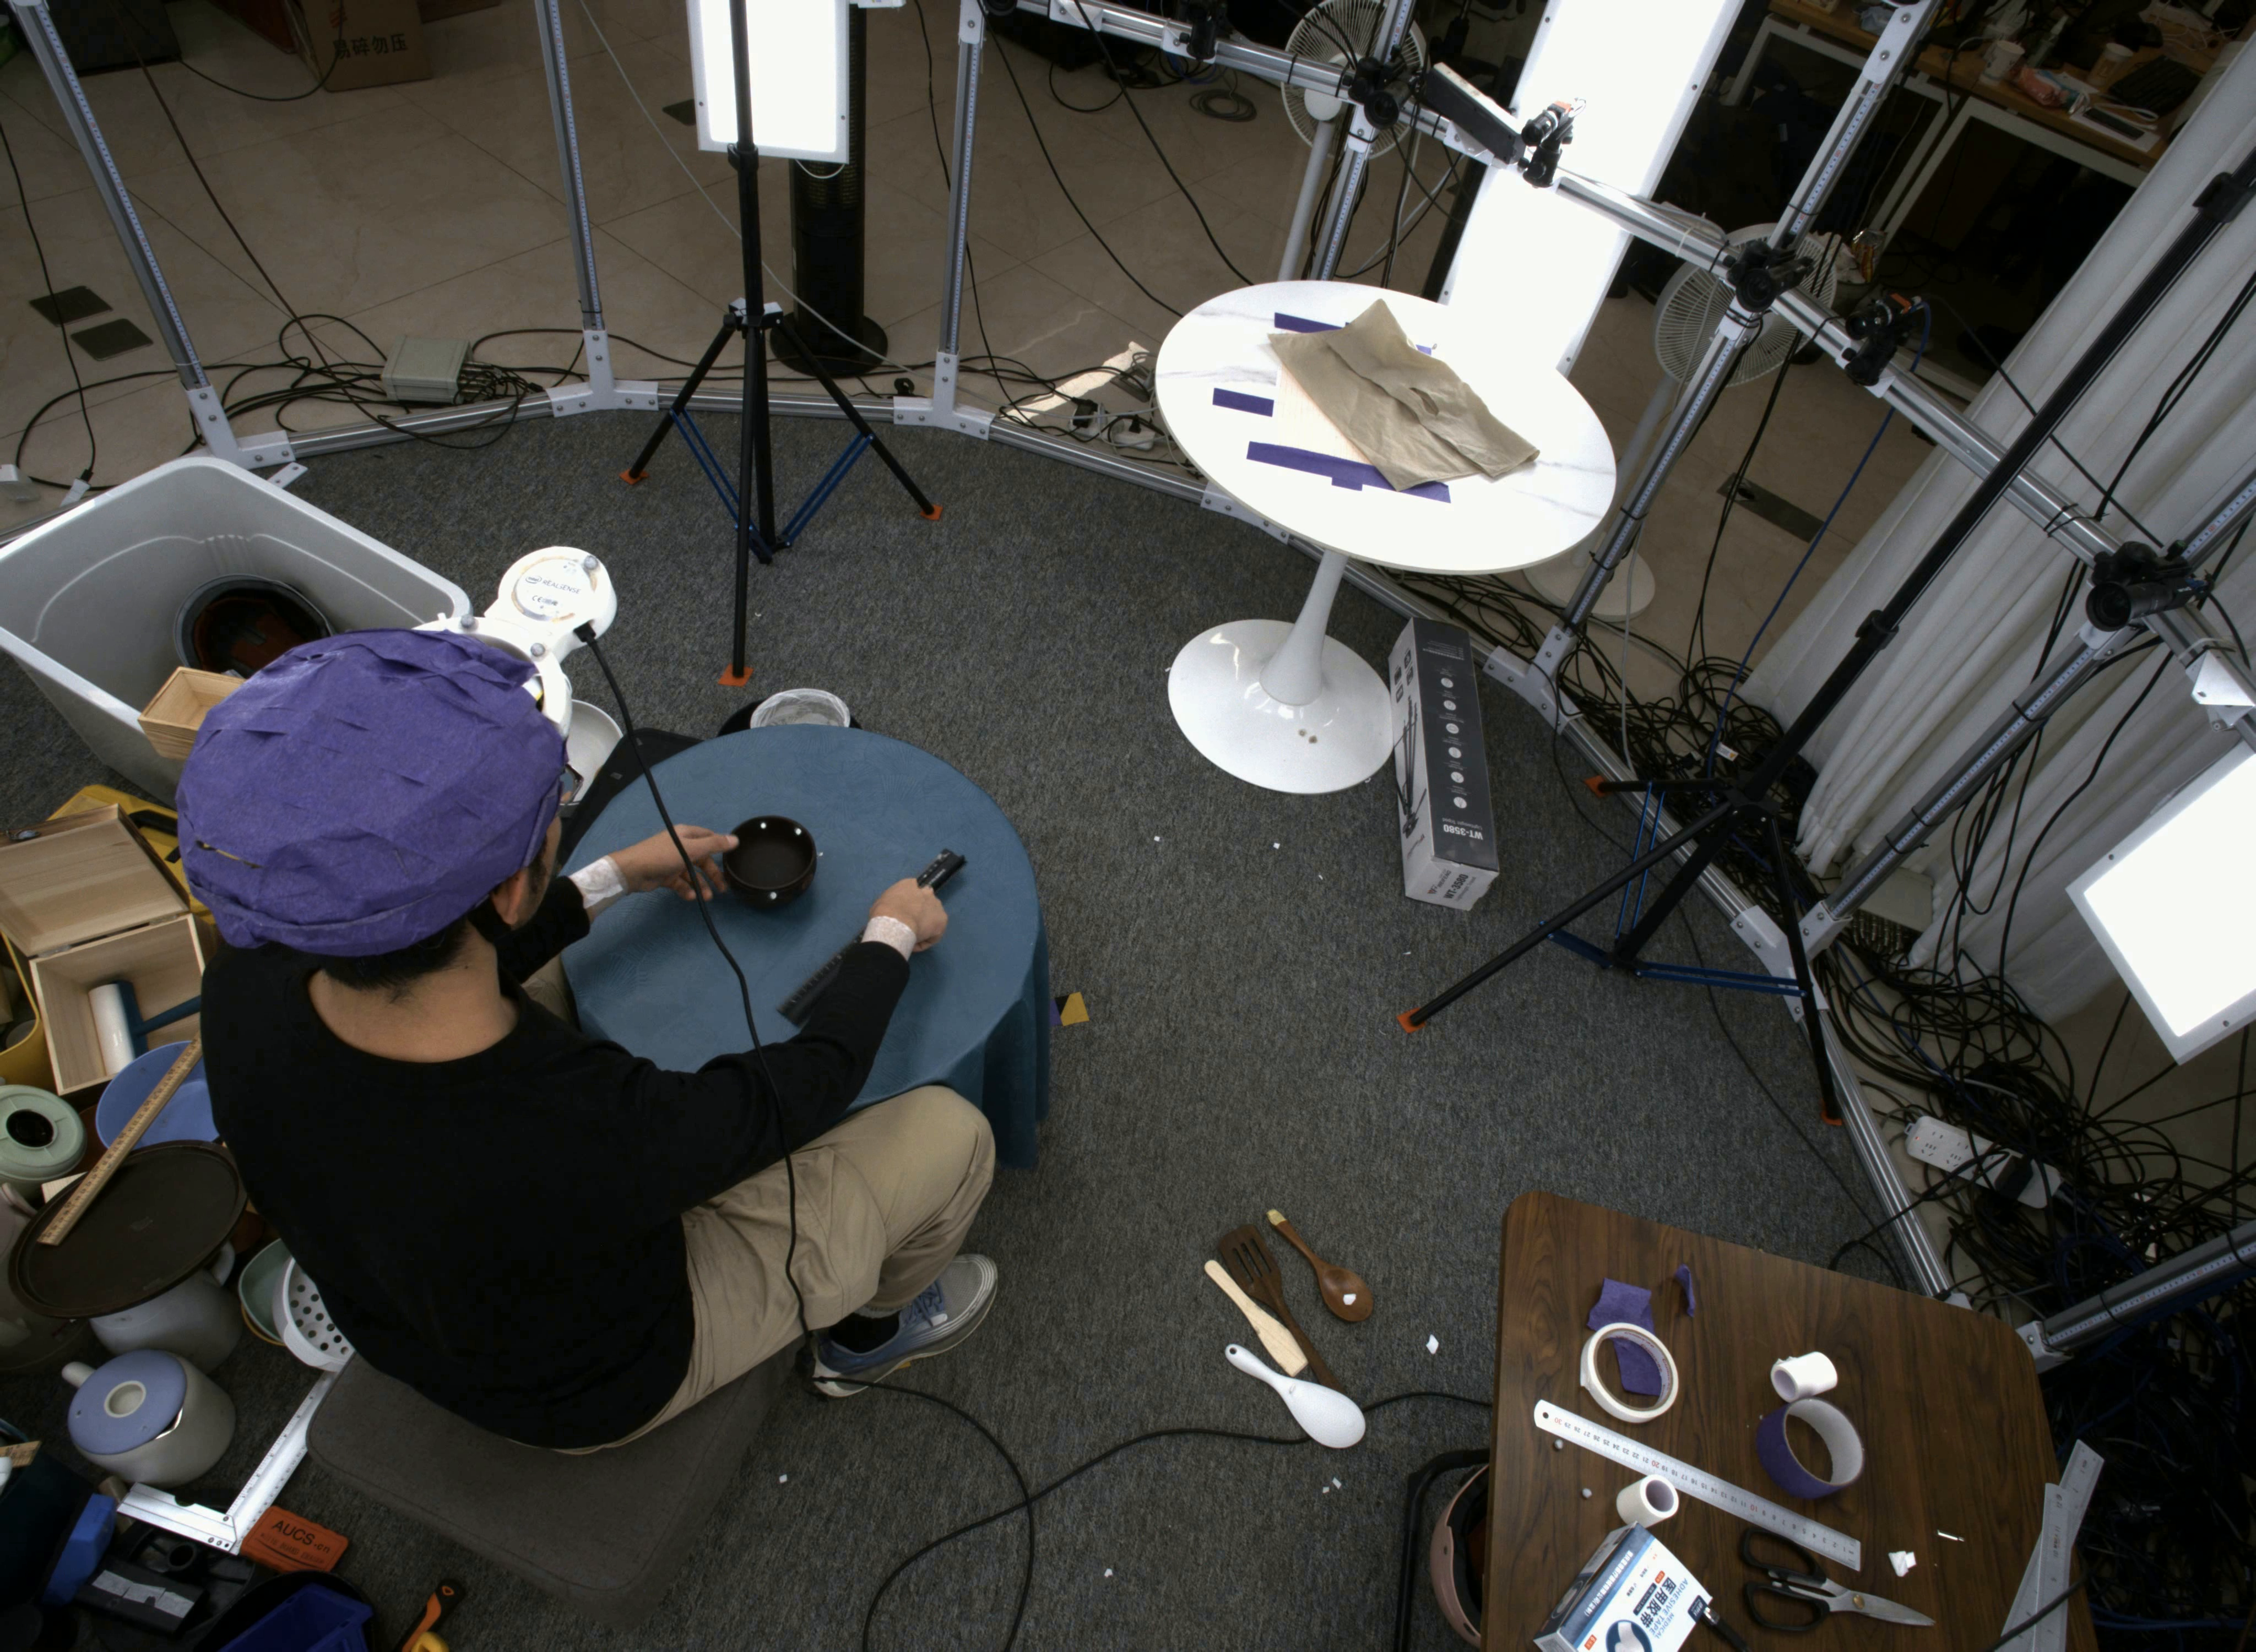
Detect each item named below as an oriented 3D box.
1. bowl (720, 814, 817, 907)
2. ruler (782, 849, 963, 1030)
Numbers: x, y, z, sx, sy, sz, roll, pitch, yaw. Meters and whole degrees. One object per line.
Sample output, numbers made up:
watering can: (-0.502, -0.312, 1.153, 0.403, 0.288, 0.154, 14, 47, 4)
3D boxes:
bowl: (-0.451, 0.049, 1.627, 0.118, 0.071, 0.116, 8, 51, -8)
ruler: (-0.316, 0.130, 1.629, 0.038, 0.017, 0.312, 30, 55, 16)
